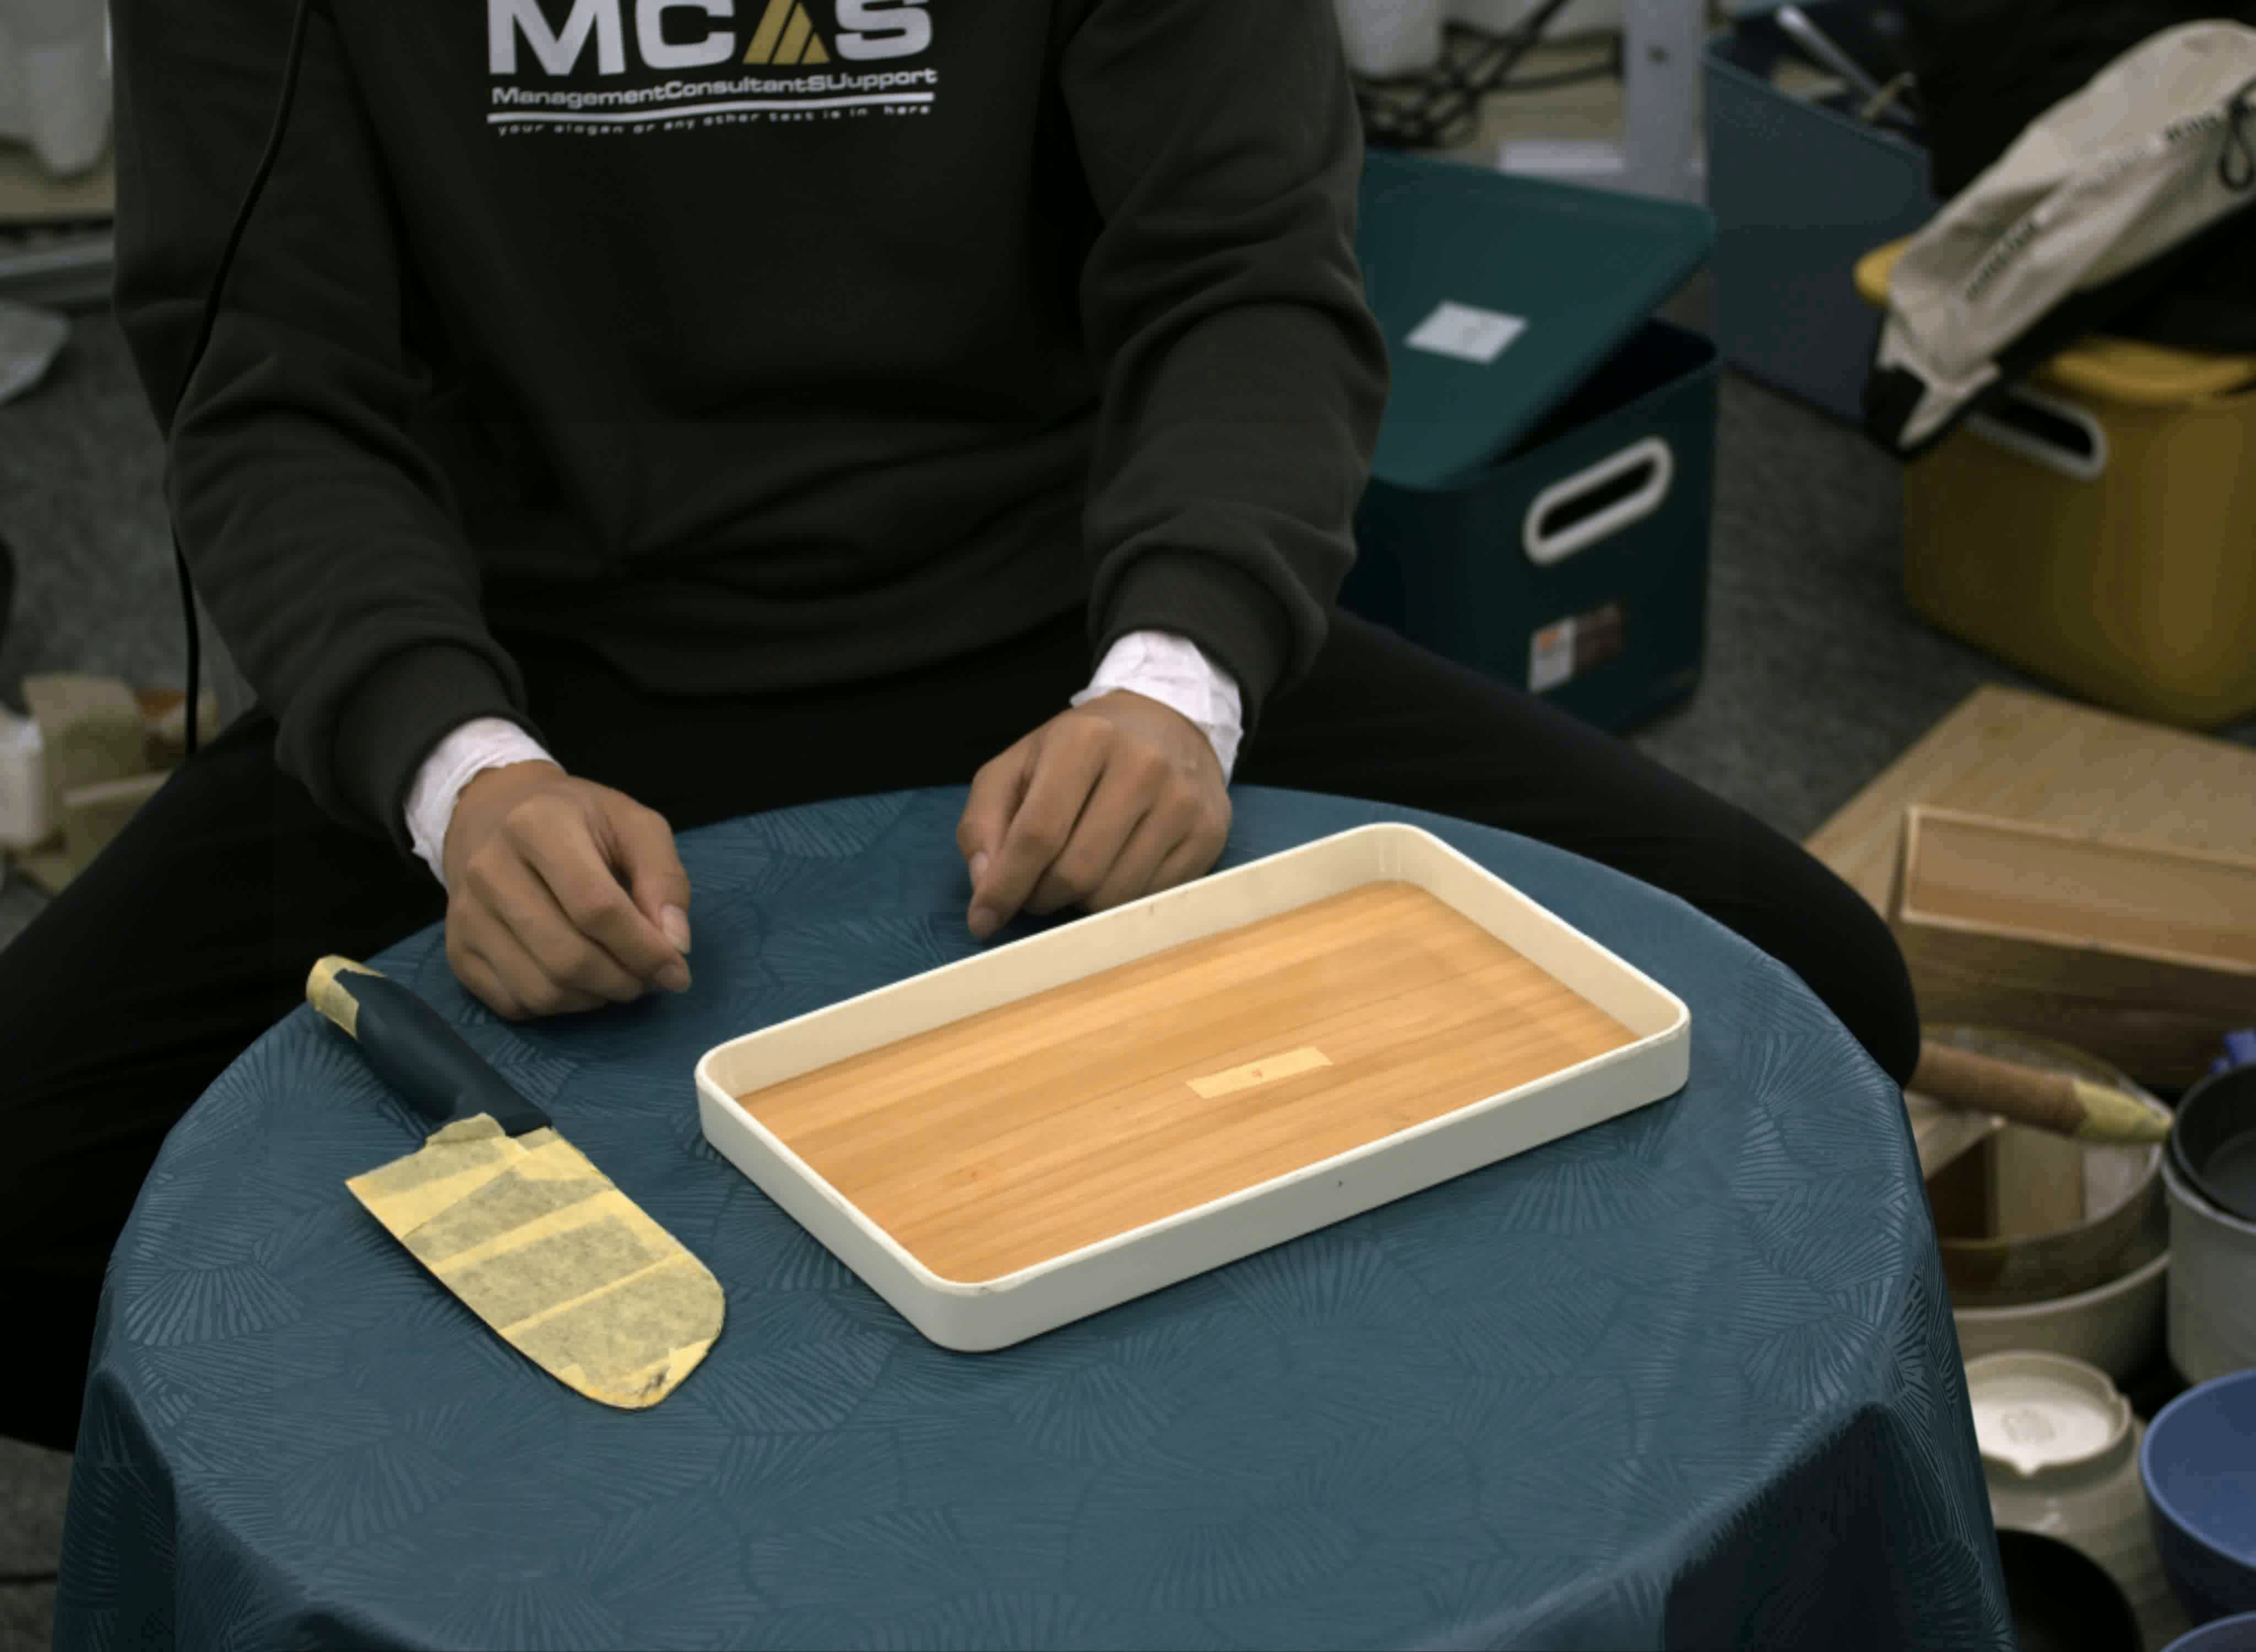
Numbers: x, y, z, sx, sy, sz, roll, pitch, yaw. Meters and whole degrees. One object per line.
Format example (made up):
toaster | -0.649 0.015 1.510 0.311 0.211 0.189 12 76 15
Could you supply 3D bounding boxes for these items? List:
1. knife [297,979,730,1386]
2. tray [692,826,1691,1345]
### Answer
knife | -0.218 0.119 1.870 0.081 0.027 0.290 -16 31 -28
tray | 0.022 0.083 1.905 0.302 0.027 0.192 -18 30 -27
